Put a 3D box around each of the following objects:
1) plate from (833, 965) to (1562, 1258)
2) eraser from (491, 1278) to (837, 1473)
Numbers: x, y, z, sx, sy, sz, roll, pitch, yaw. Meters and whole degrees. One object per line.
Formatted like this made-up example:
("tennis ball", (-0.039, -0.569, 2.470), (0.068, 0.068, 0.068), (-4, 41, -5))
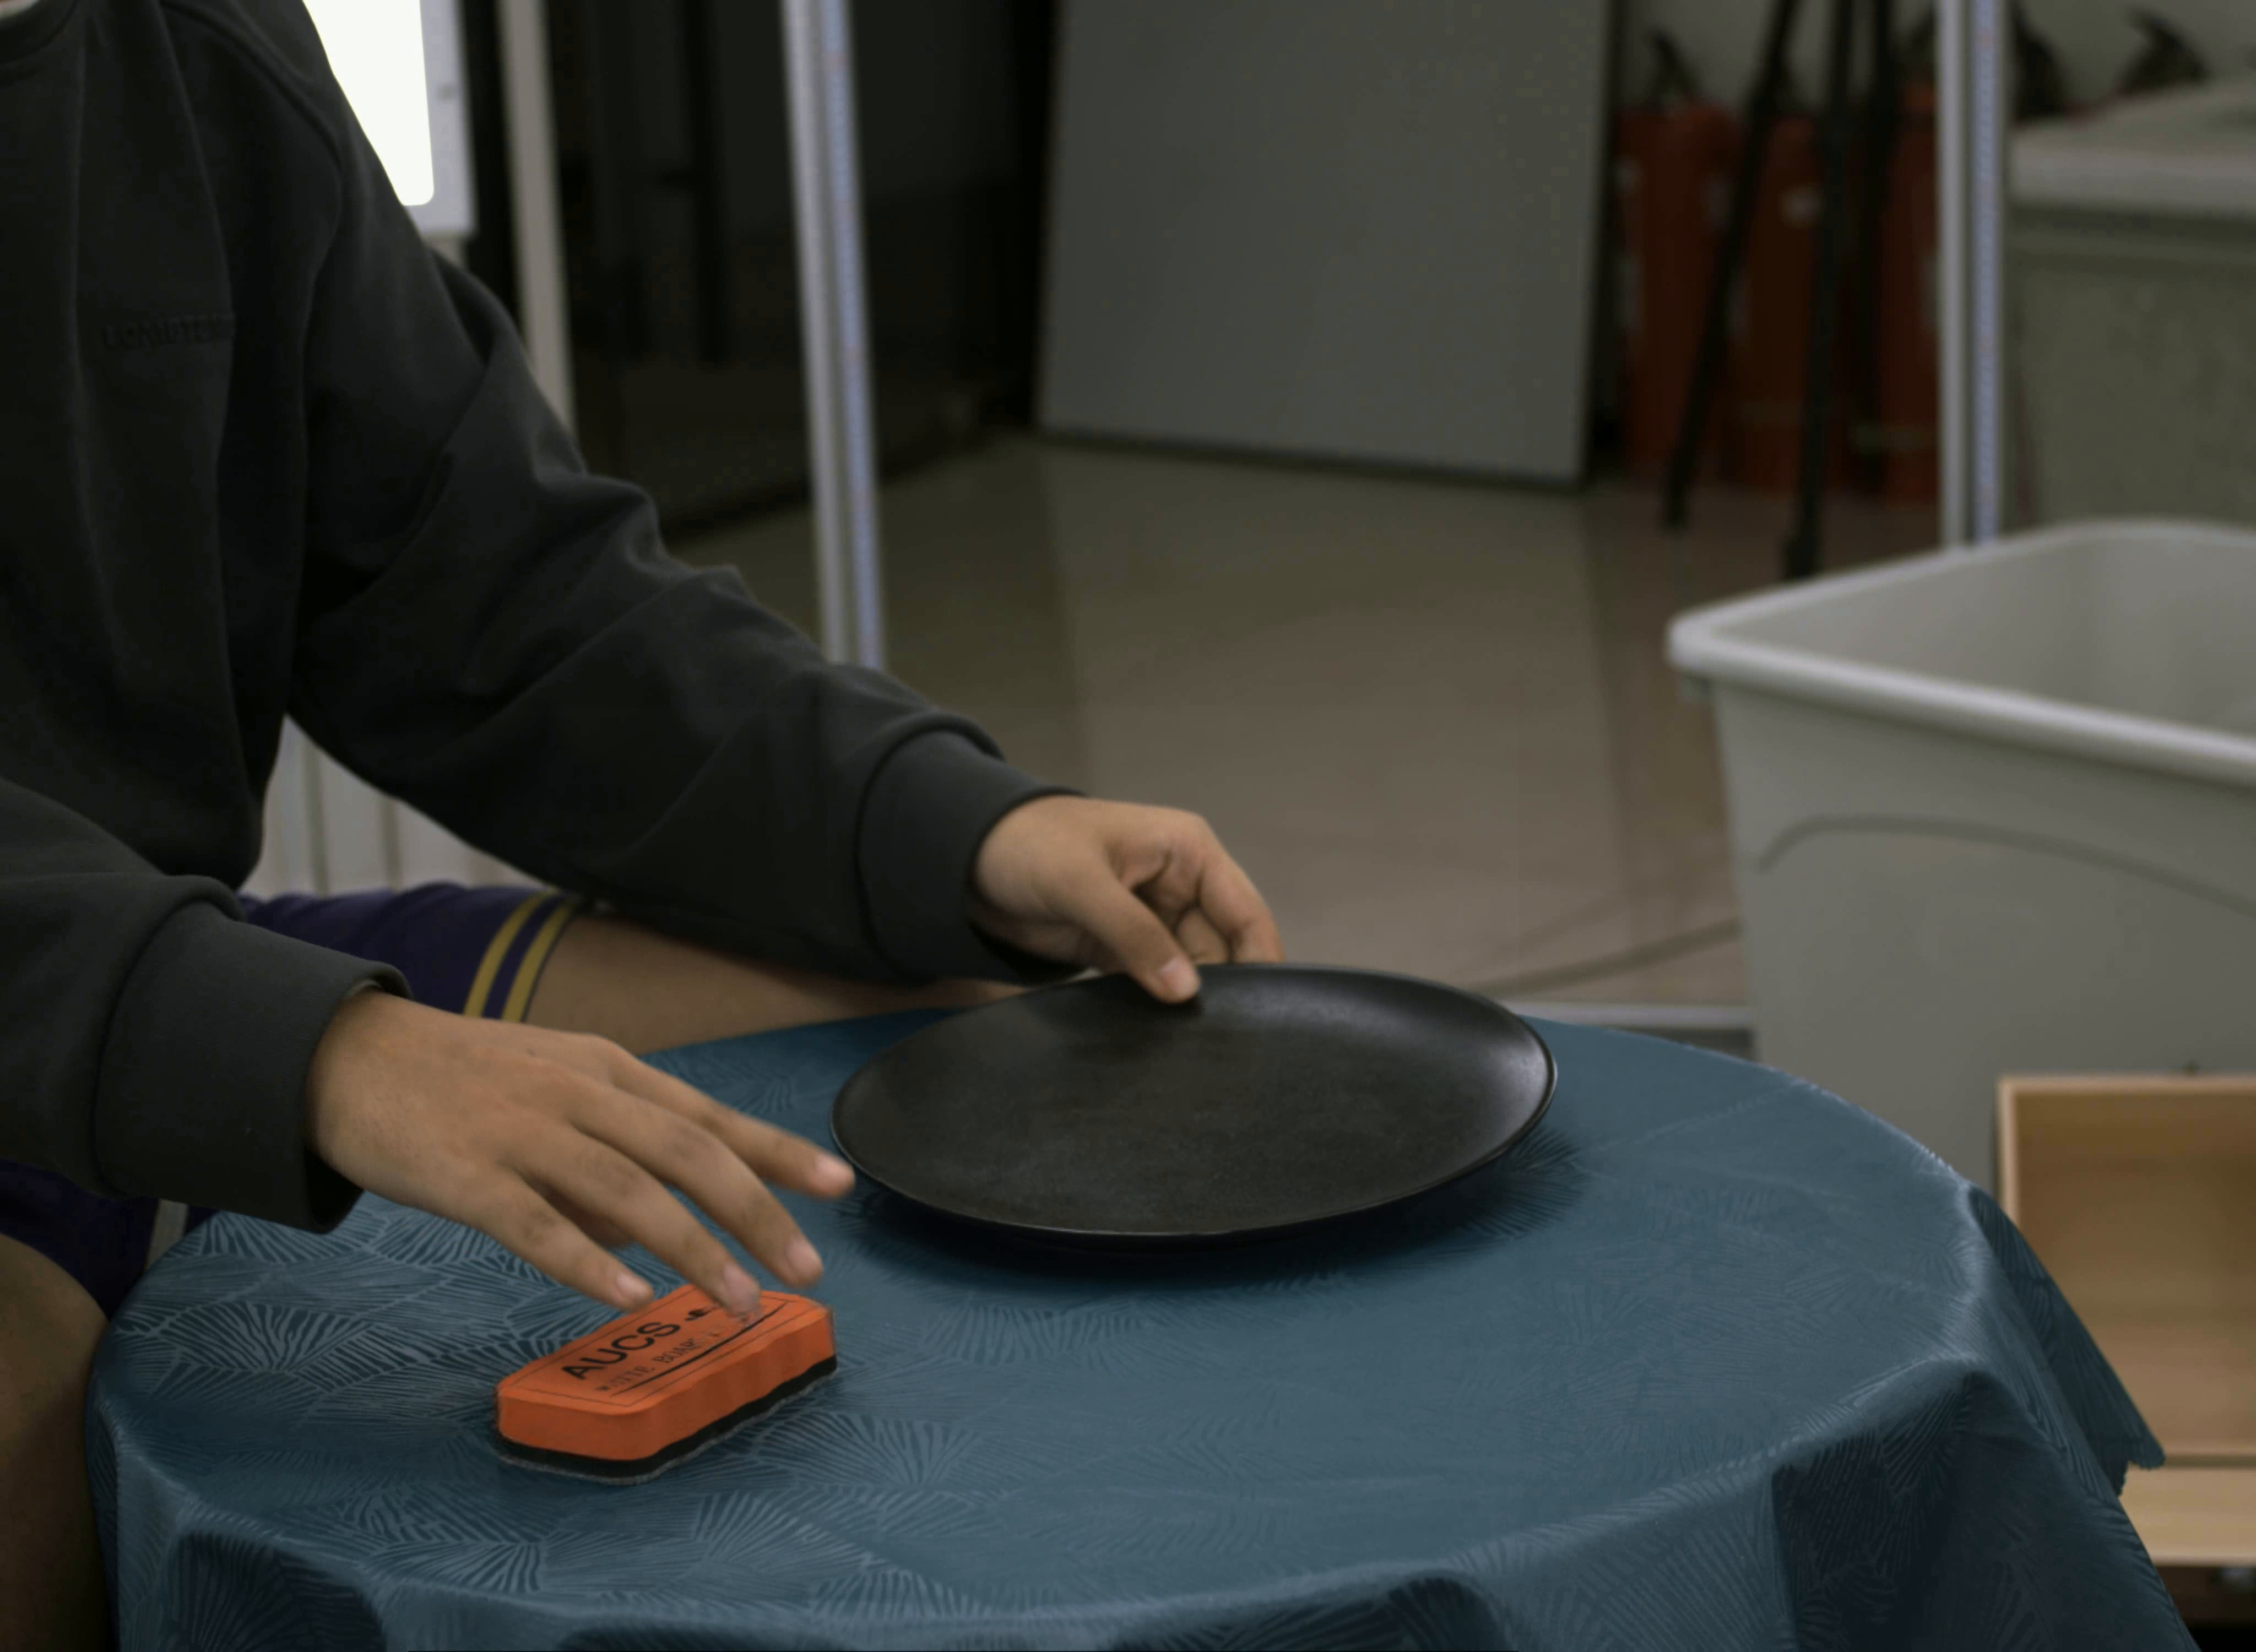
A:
("plate", (0.023, 0.098, 1.783), (0.241, 0.023, 0.245), (-5, 18, 1))
("eraser", (-0.135, 0.160, 1.585), (0.059, 0.023, 0.106), (6, 15, 32))
